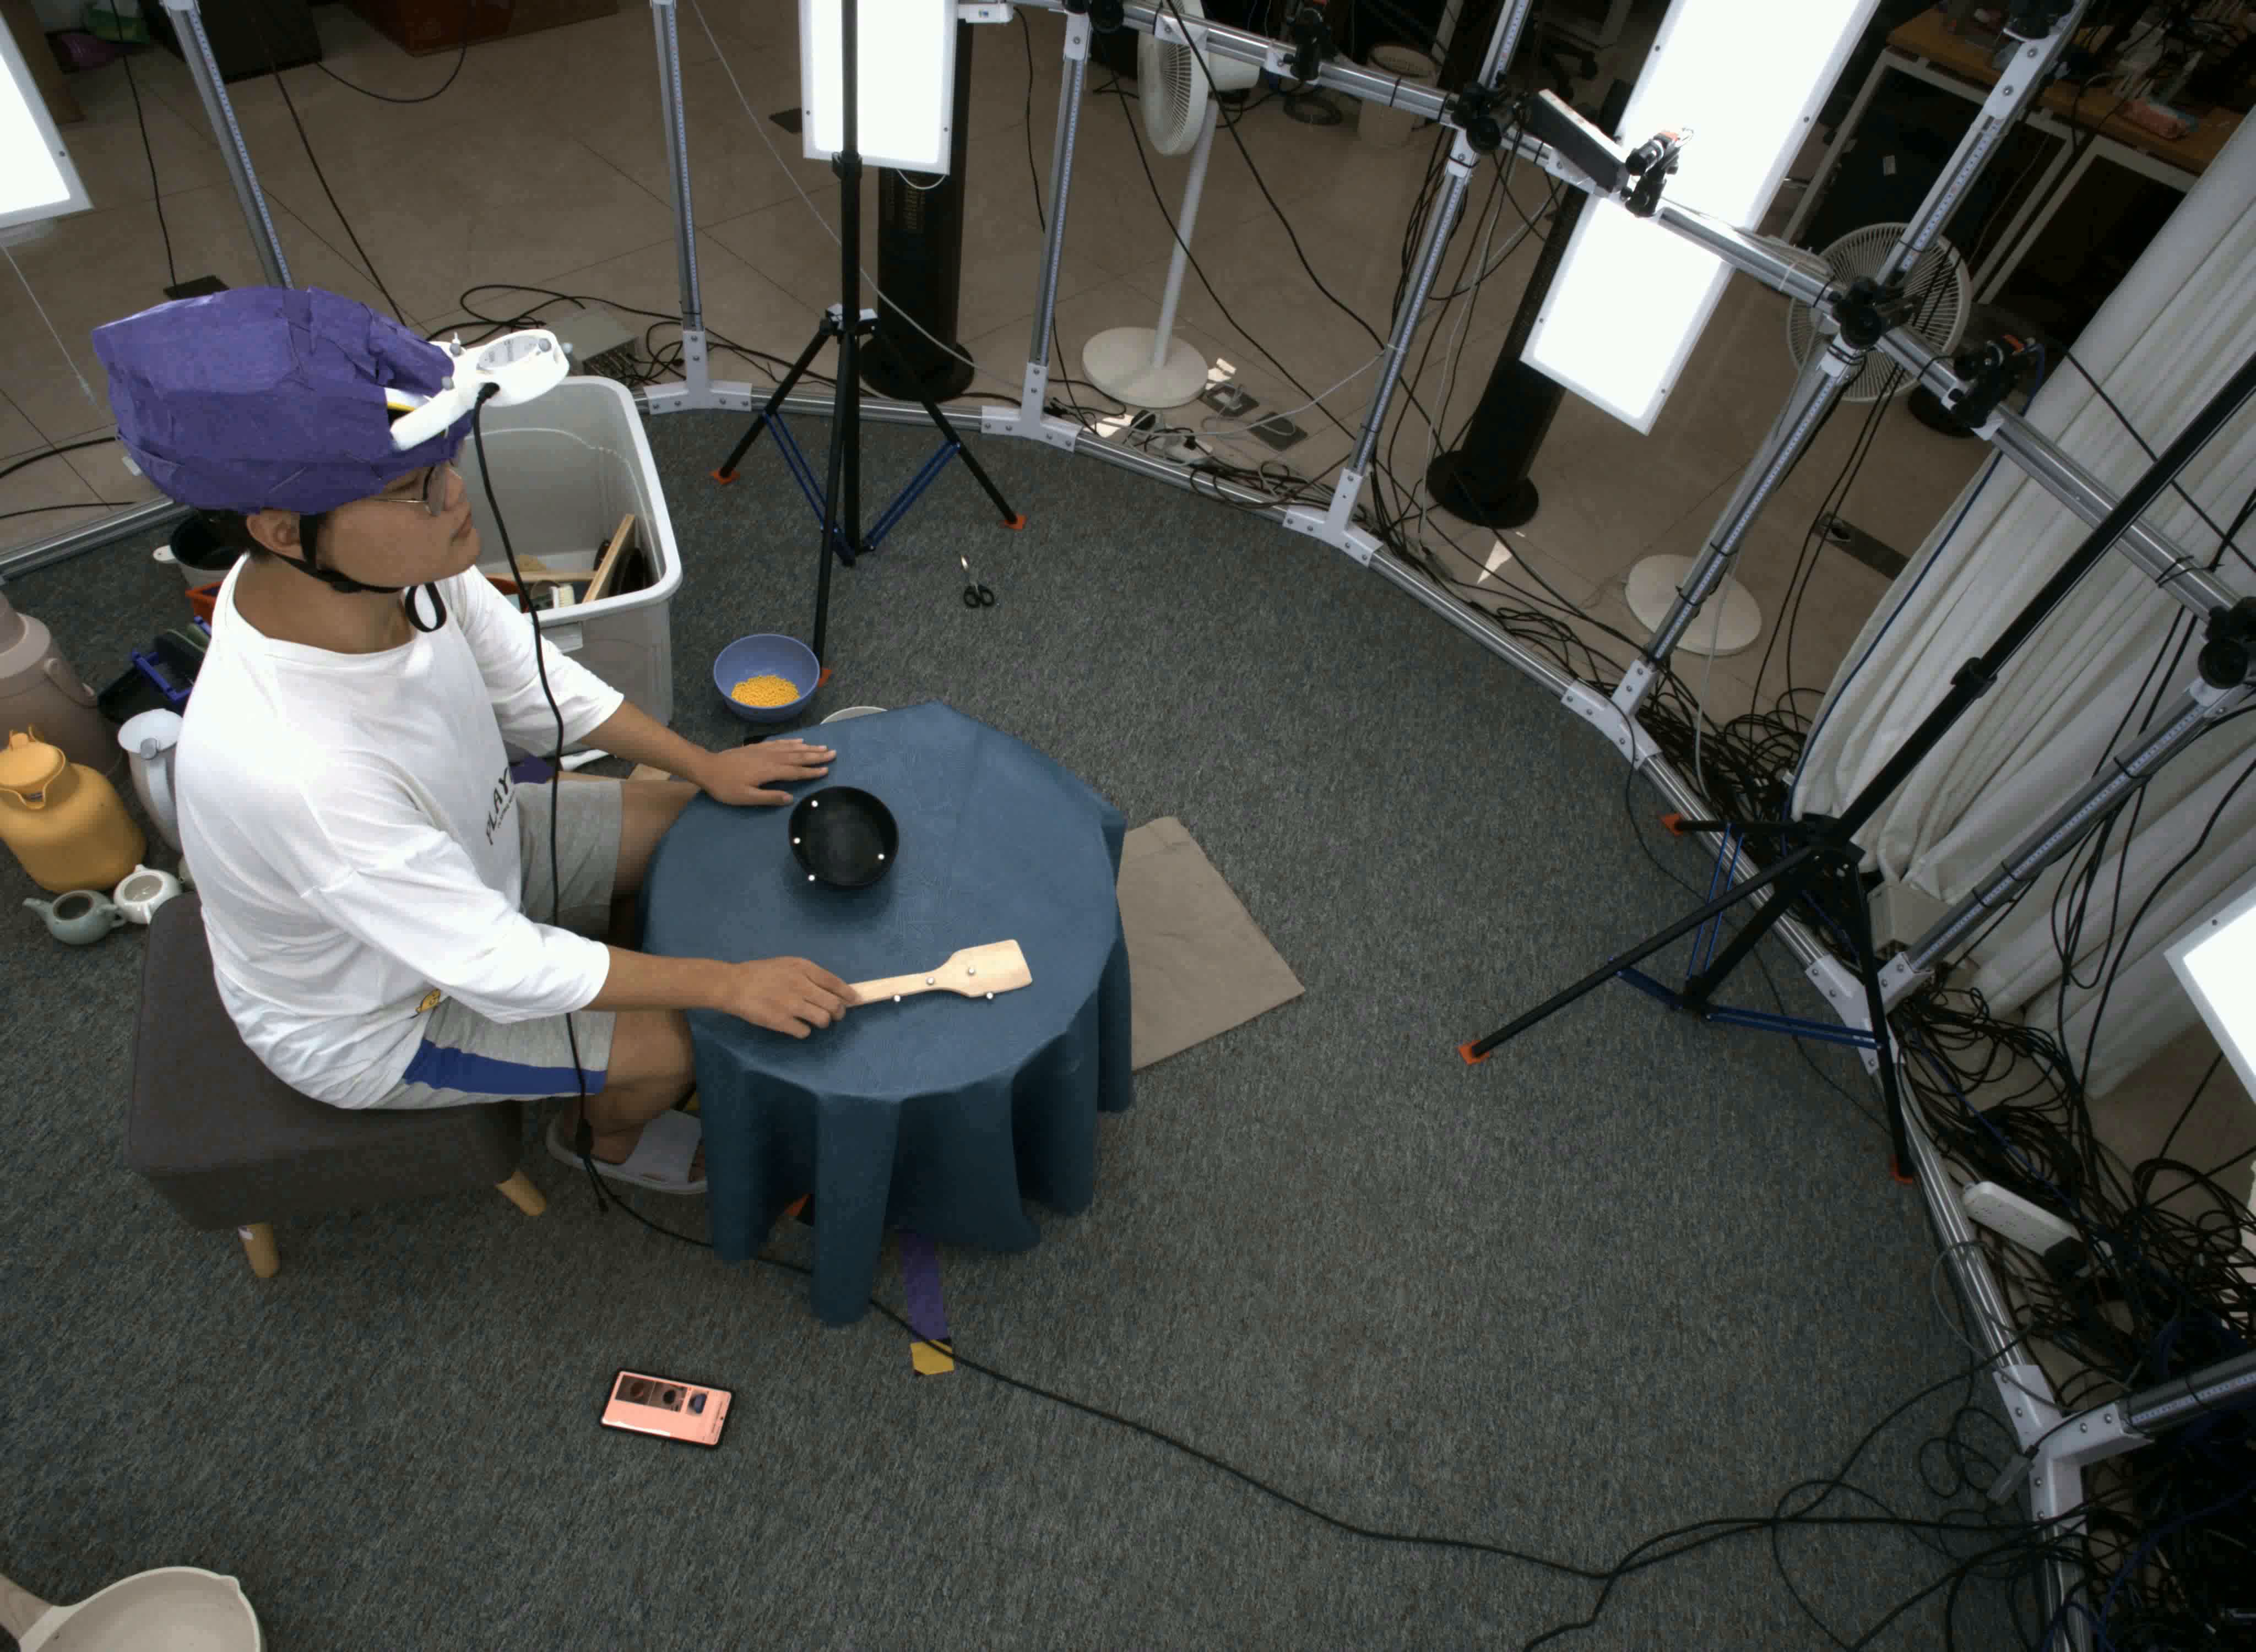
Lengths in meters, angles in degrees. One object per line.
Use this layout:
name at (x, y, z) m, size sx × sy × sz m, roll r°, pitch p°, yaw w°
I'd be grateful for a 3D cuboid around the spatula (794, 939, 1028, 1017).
spatula at (-0.266, 0.194, 1.608) m, size 0.295 × 0.011 × 0.070 m, roll -9°, pitch 56°, yaw -27°

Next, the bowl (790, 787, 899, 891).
bowl at (-0.368, 0.024, 1.689) m, size 0.138 × 0.068 × 0.166 m, roll -14°, pitch 56°, yaw -21°
